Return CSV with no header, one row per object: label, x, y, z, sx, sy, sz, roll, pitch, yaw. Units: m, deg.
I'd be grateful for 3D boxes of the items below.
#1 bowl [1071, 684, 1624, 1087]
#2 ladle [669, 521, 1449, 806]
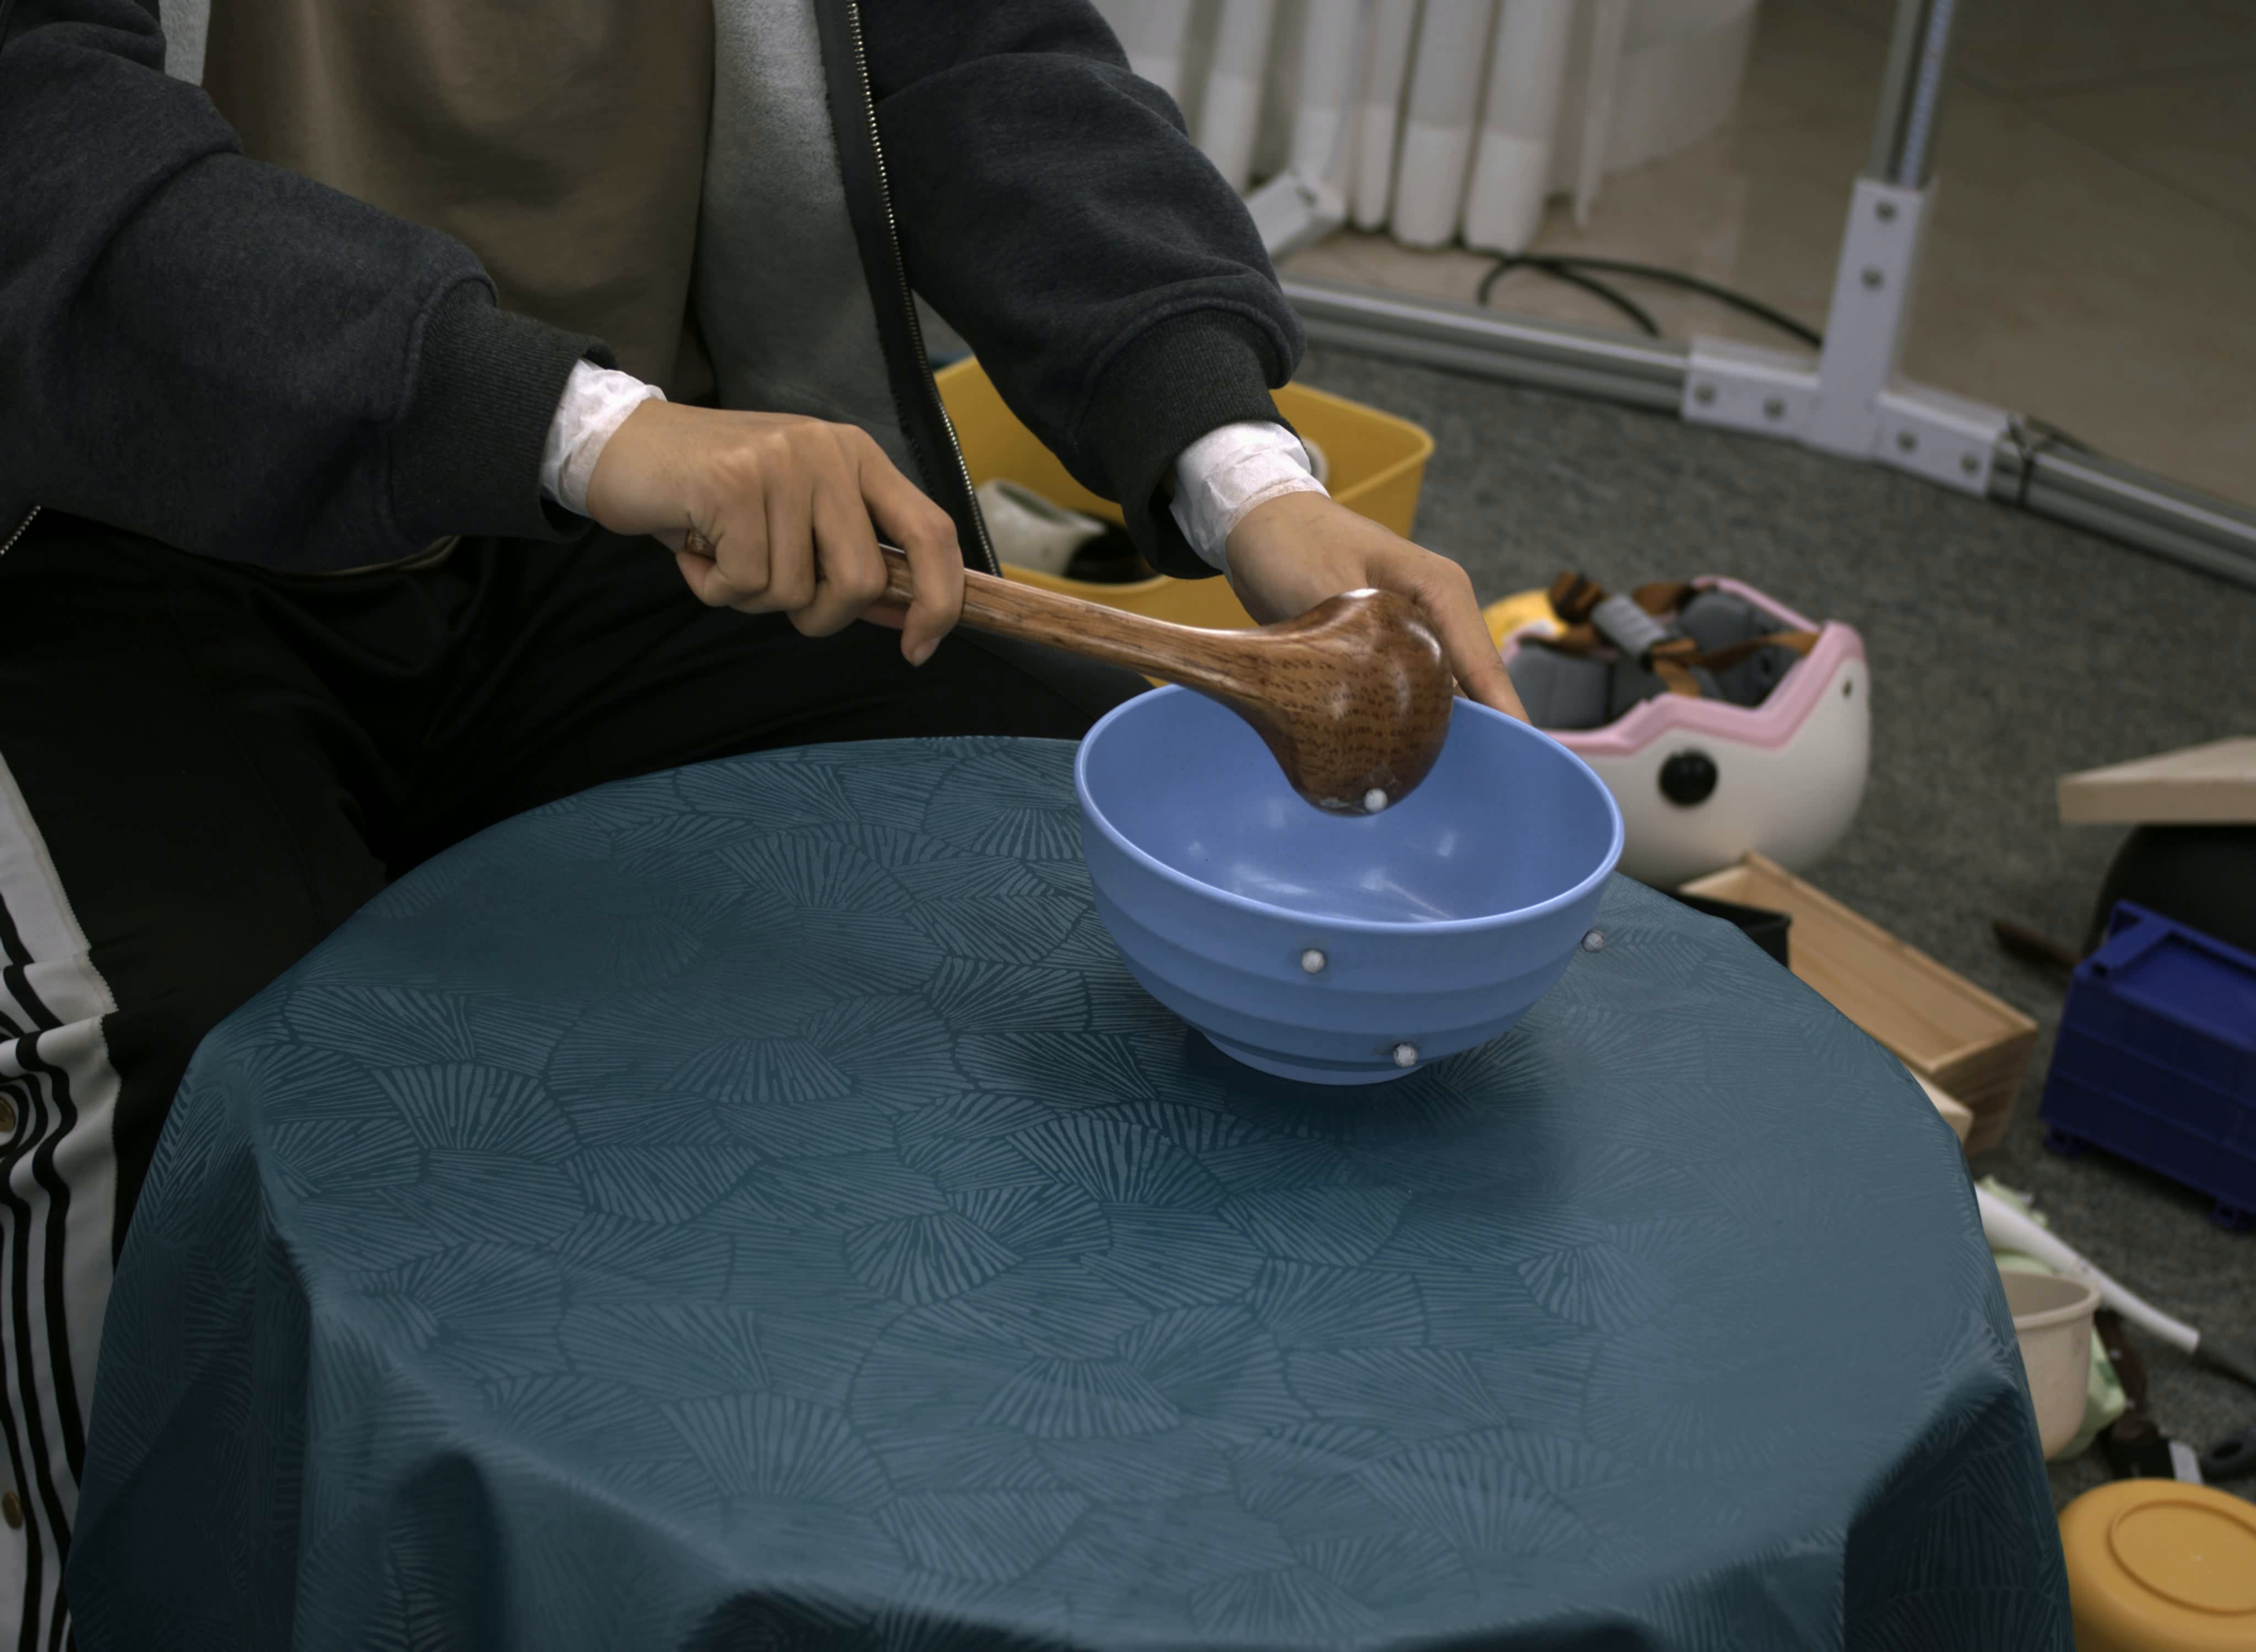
bowl,0.073,0.030,1.899,0.196,0.095,0.197,4,26,-2
ladle,-0.022,-0.069,1.855,0.273,0.082,0.076,12,-3,2
